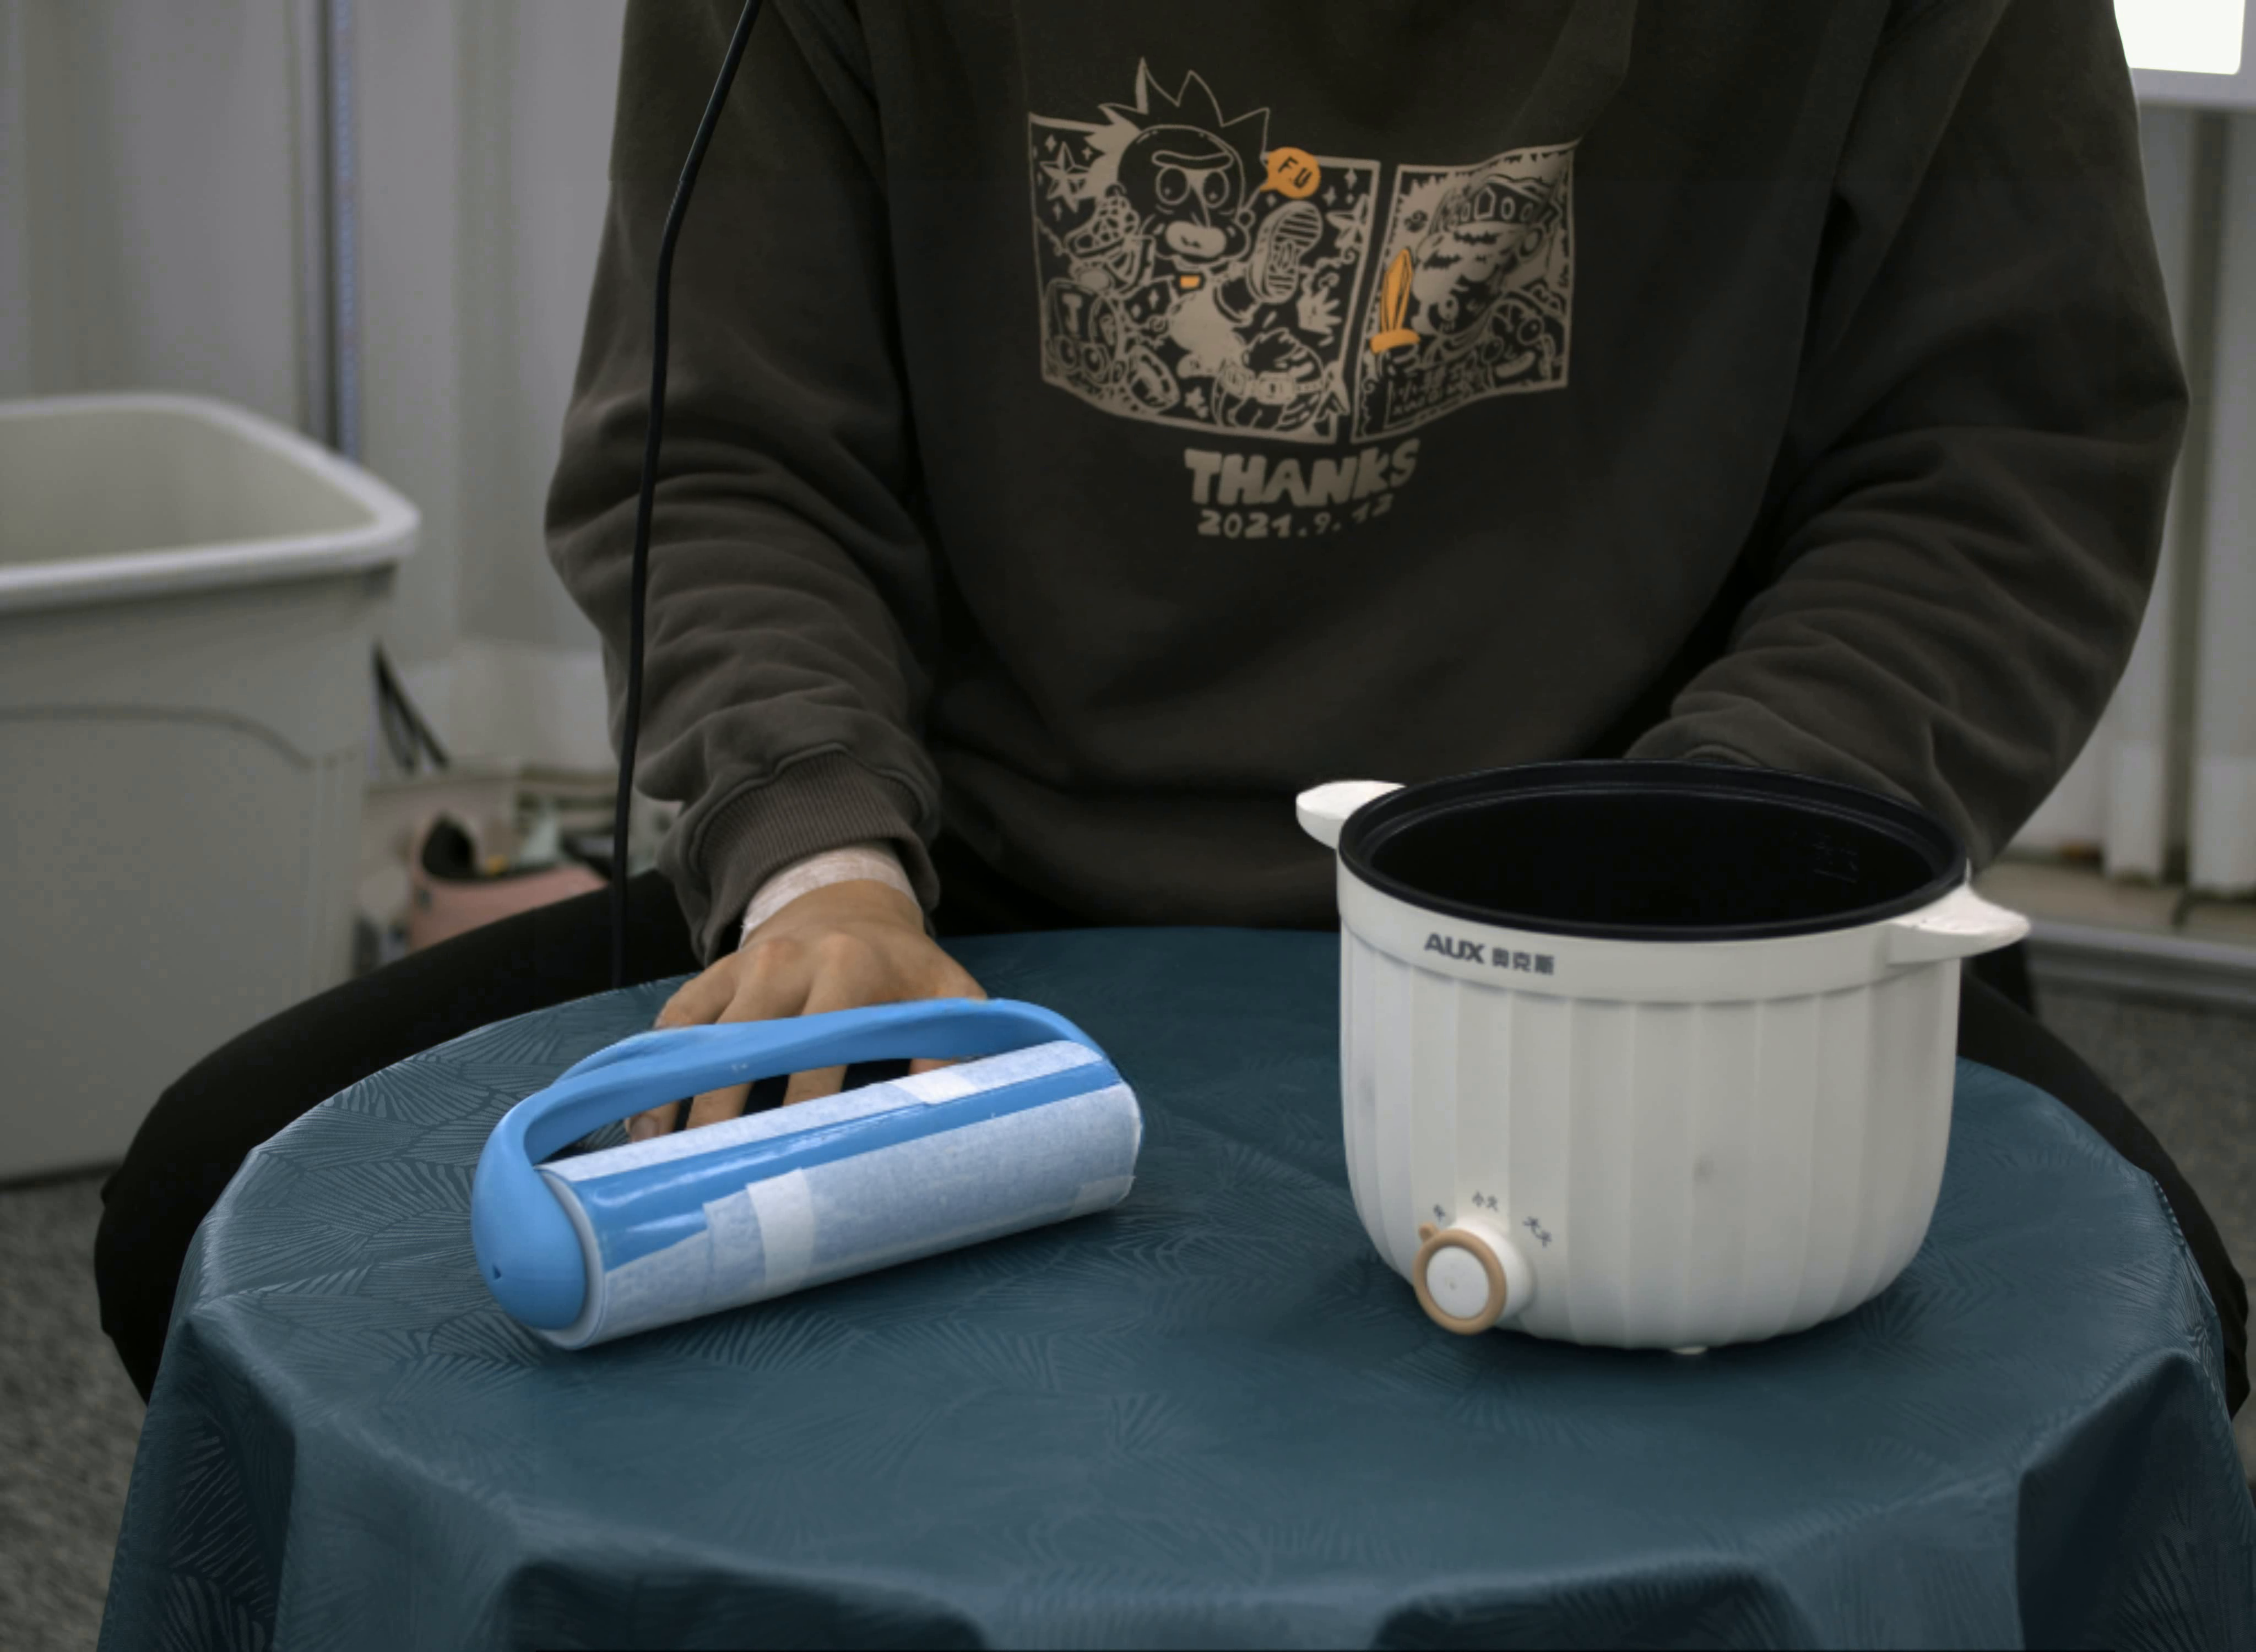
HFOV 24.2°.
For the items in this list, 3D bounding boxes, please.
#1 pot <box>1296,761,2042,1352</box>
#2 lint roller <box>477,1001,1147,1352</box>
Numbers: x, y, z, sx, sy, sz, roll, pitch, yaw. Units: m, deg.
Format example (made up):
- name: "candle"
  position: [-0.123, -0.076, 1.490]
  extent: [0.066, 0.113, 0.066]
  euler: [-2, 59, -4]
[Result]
- name: "pot"
  position: [0.149, 0.069, 1.532]
  extent: [0.237, 0.143, 0.191]
  euler: [10, 15, 33]
- name: "lint roller"
  position: [-0.127, 0.093, 1.589]
  extent: [0.230, 0.068, 0.178]
  euler: [-14, 23, -39]
